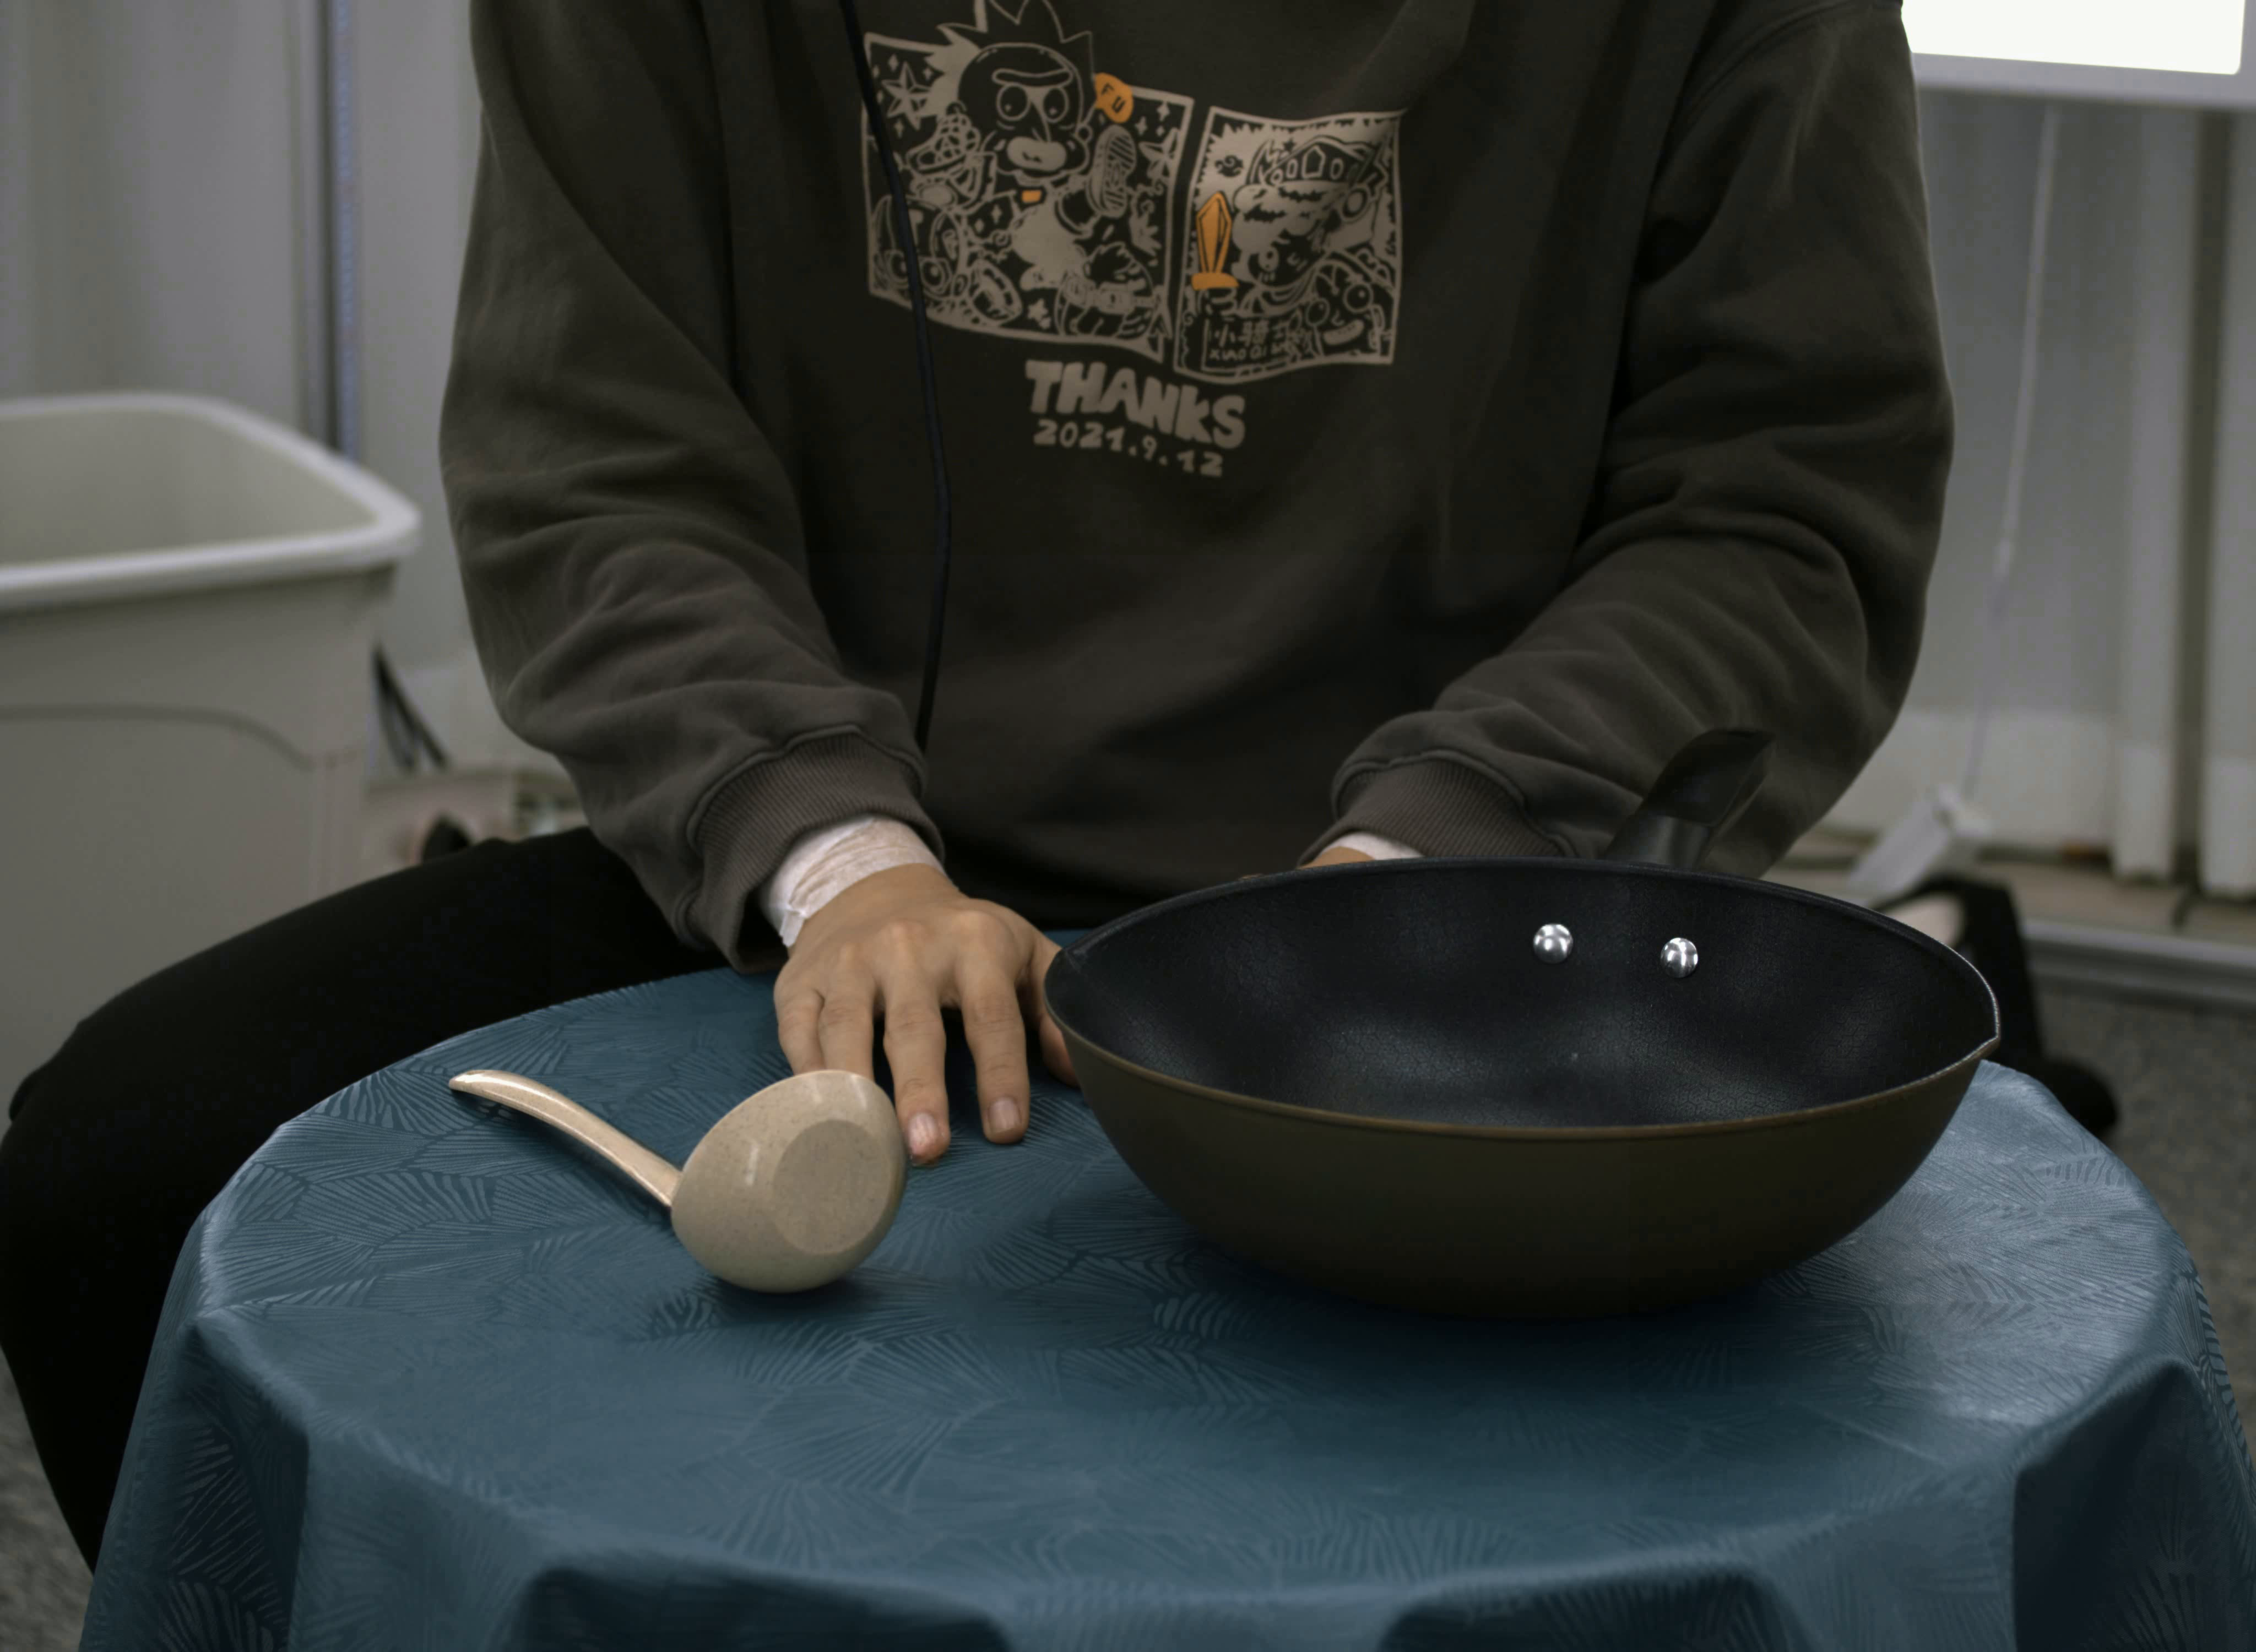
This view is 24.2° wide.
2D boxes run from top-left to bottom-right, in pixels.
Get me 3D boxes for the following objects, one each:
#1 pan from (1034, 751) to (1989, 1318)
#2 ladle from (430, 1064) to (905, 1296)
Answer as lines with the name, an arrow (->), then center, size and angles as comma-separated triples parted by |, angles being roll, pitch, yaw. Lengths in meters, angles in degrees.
pan -> 0.142, 0.062, 1.662 | 0.285, 0.087, 0.463 | 5, 15, 18
ladle -> -0.154, 0.078, 1.610 | 0.072, 0.073, 0.251 | -12, 21, -32
